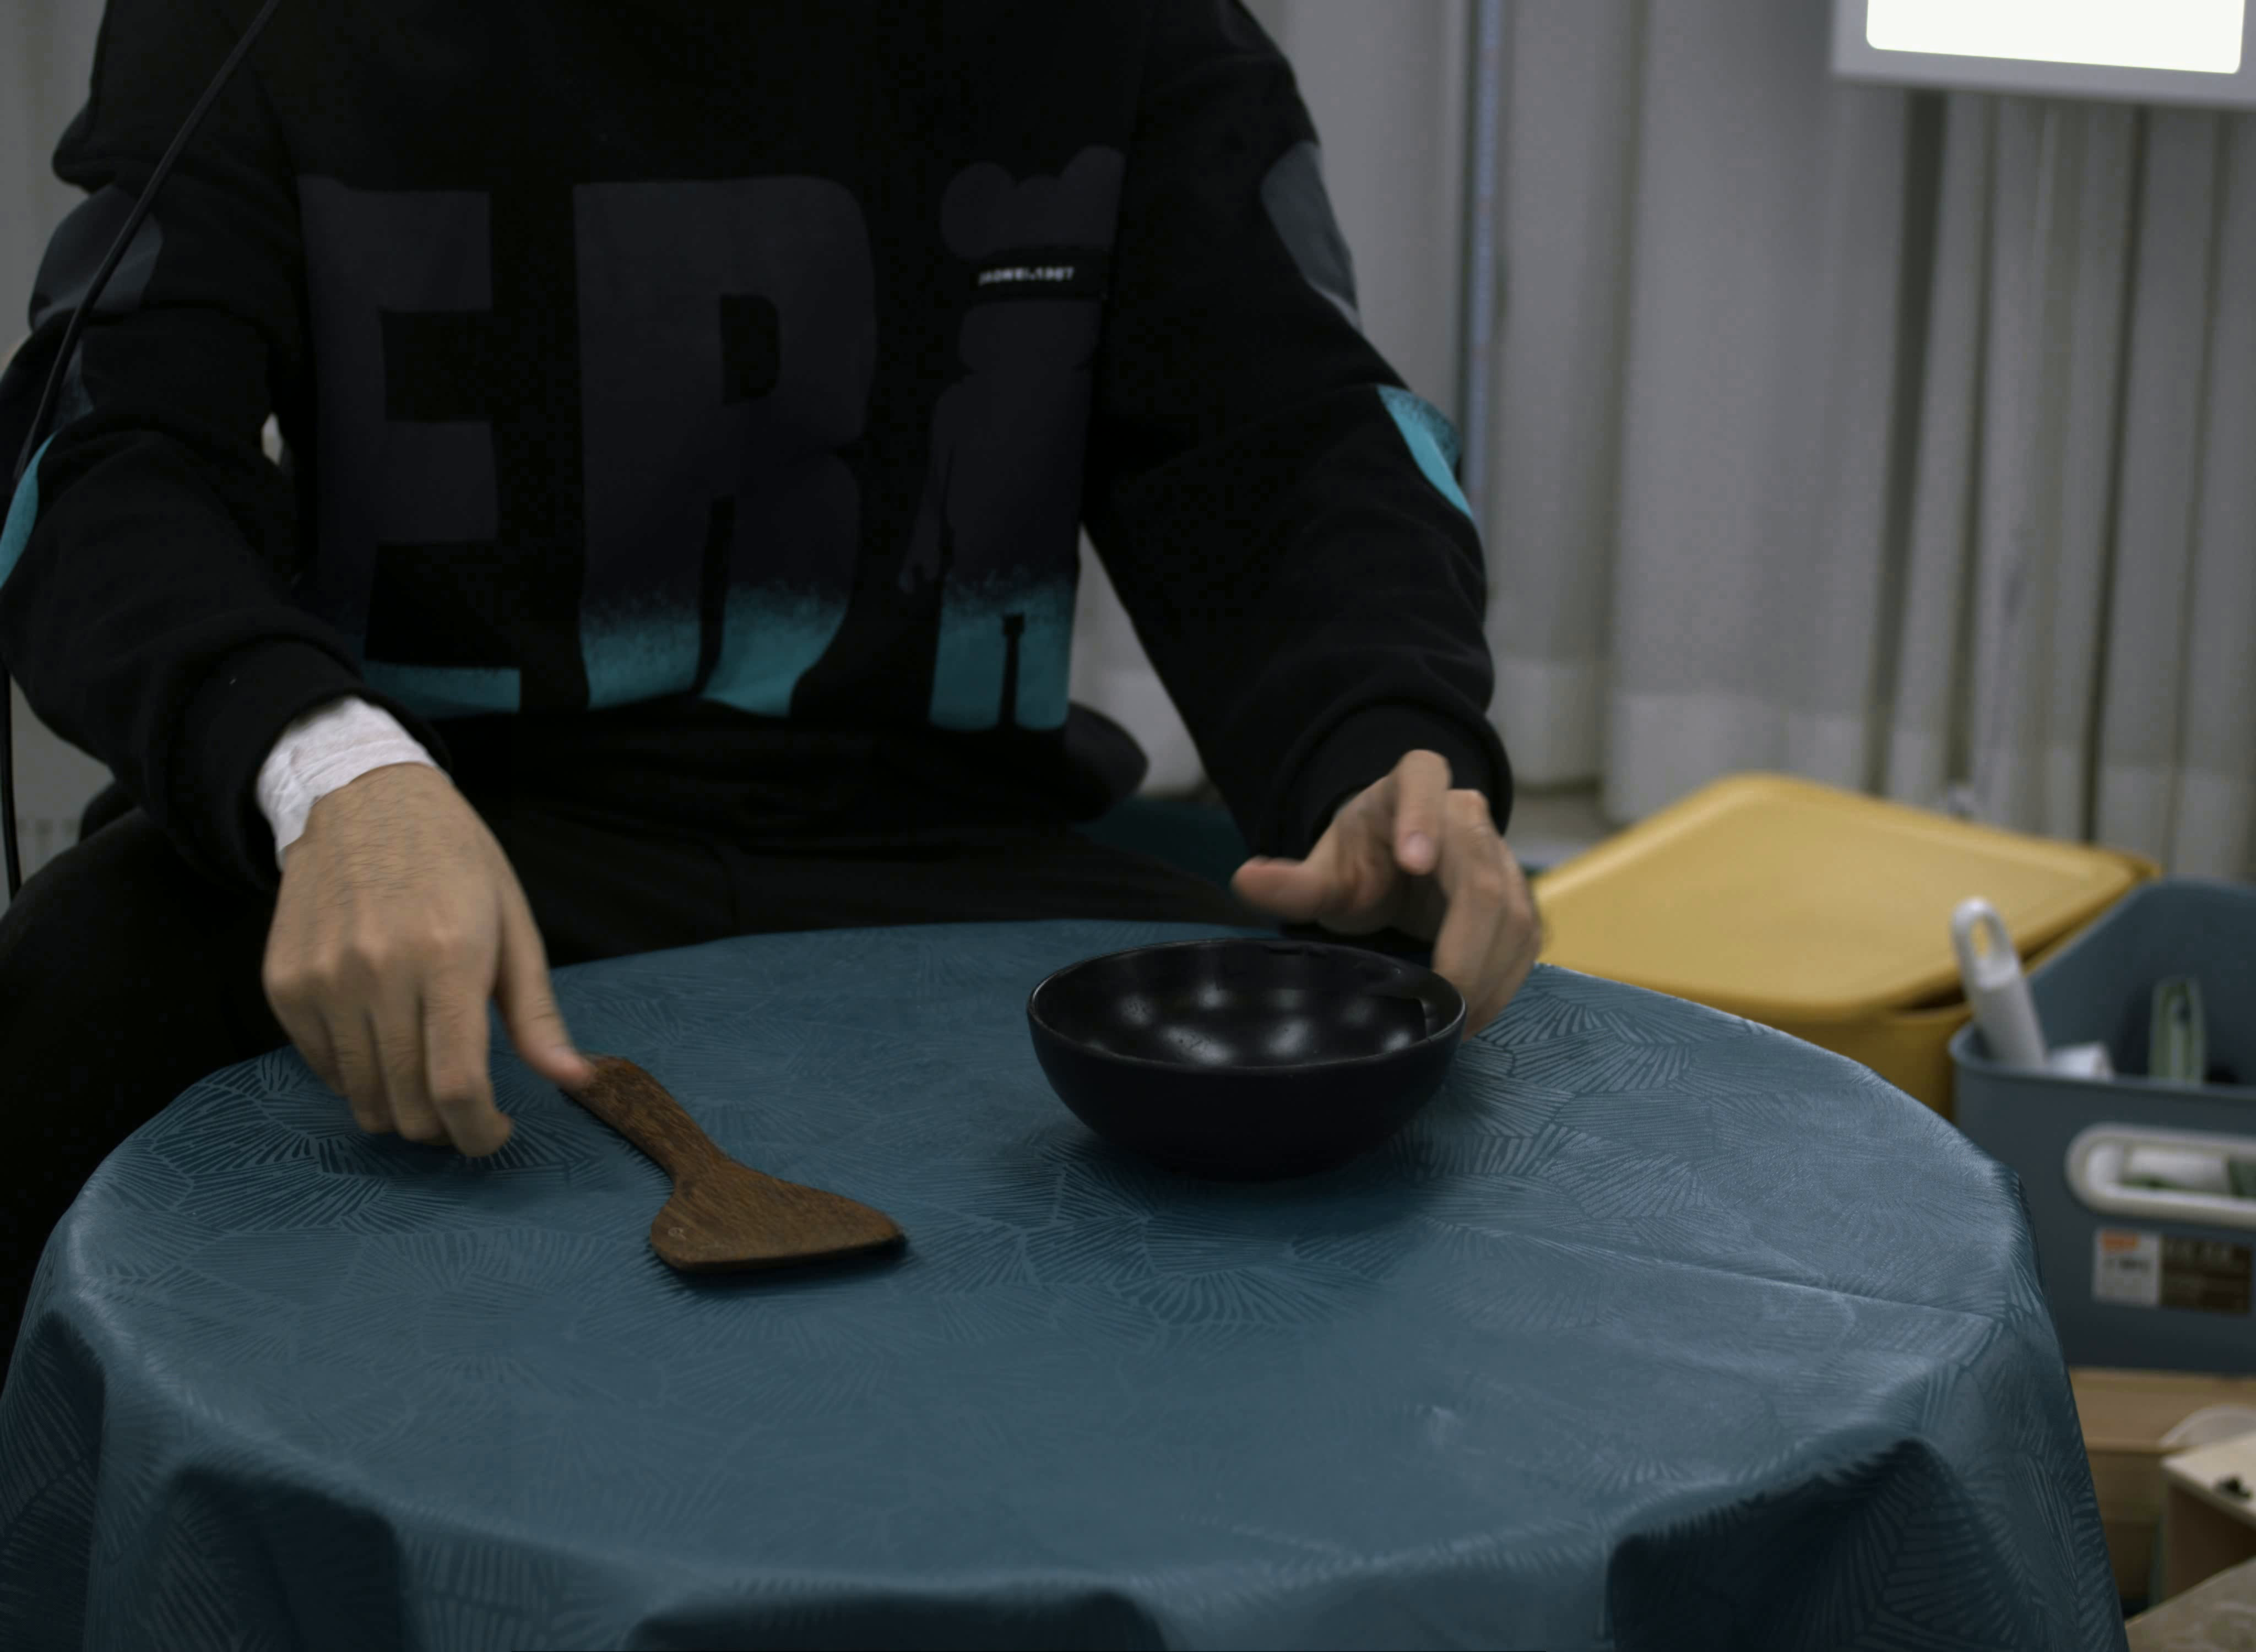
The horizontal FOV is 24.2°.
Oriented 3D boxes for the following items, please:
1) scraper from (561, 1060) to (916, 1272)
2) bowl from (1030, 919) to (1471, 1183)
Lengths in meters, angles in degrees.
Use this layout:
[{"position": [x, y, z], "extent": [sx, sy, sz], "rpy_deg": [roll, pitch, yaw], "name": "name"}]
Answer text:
[{"position": [-0.134, 0.104, 1.635], "extent": [0.076, 0.011, 0.209], "rpy_deg": [-4, 16, -23], "name": "scraper"}, {"position": [0.039, 0.076, 1.660], "extent": [0.139, 0.050, 0.139], "rpy_deg": [0, 20, 1], "name": "bowl"}]
